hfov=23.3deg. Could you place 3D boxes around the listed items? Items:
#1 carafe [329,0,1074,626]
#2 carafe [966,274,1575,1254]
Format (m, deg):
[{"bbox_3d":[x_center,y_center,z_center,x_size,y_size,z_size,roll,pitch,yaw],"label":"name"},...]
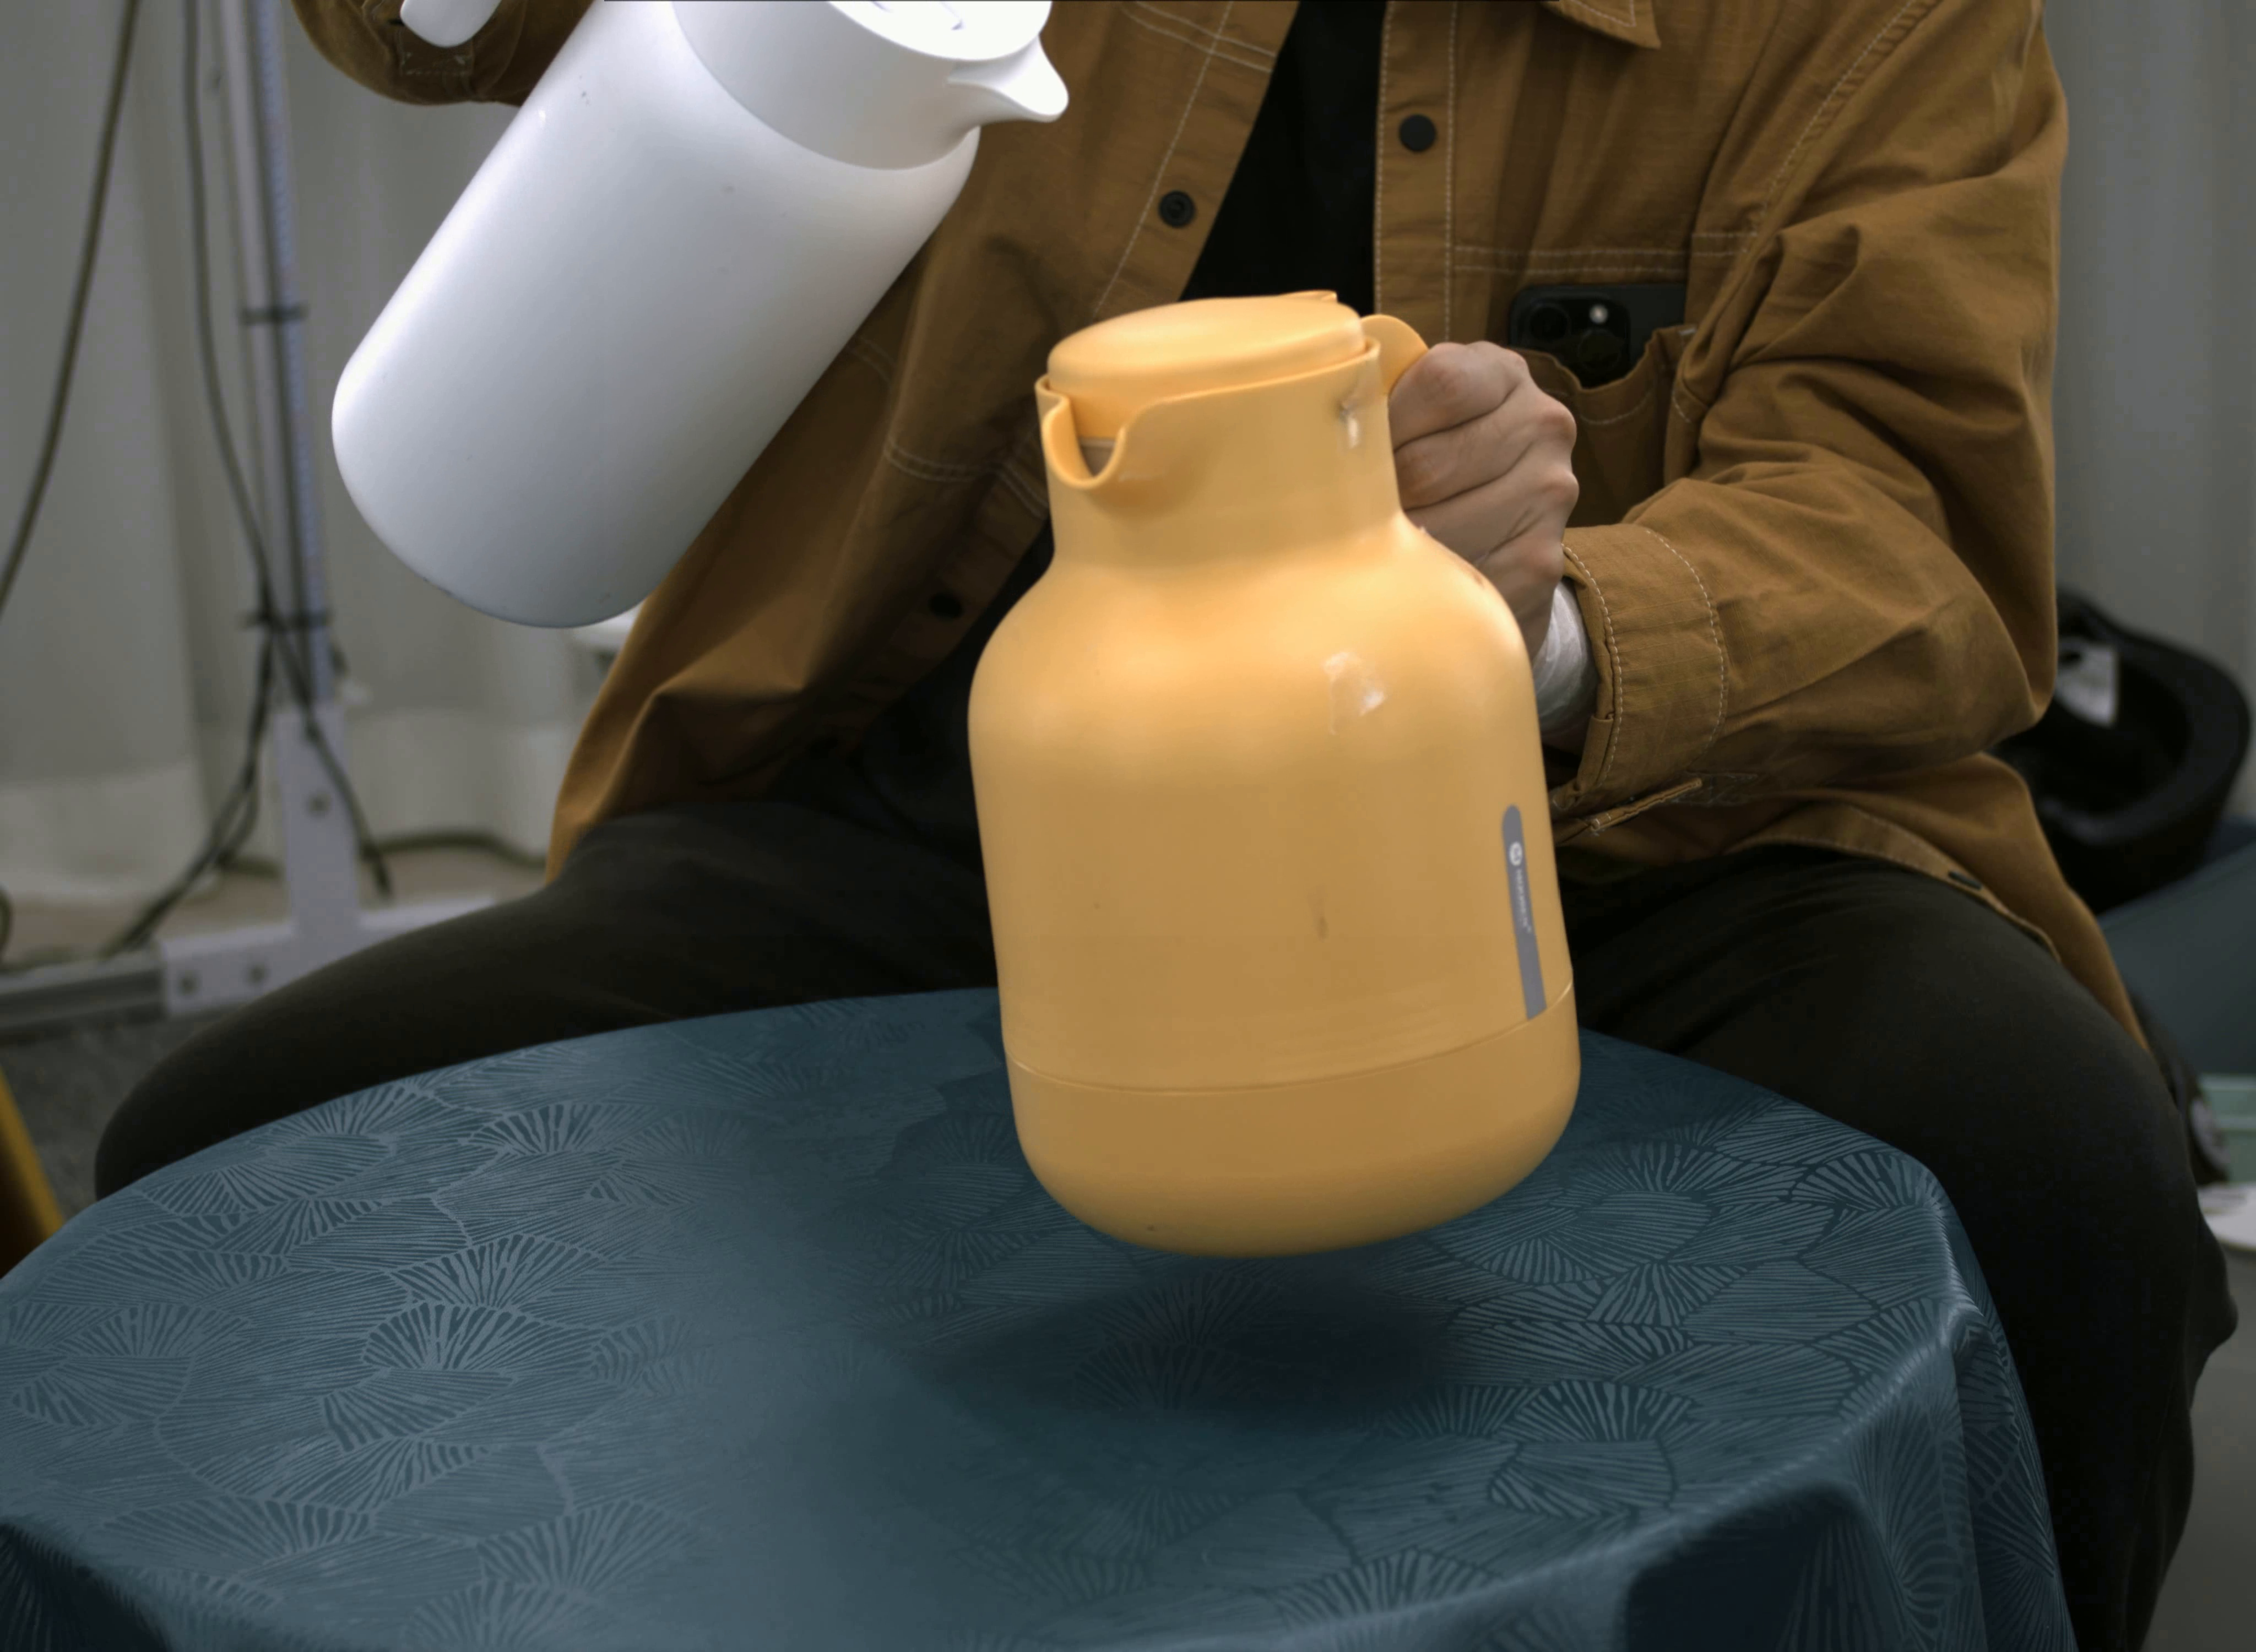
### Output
[{"bbox_3d":[-0.143,-0.190,1.611,0.124,0.173,0.267,-43,-4,-47],"label":"carafe"},{"bbox_3d":[0.047,-0.026,1.555,0.164,0.259,0.203,4,18,33],"label":"carafe"}]
